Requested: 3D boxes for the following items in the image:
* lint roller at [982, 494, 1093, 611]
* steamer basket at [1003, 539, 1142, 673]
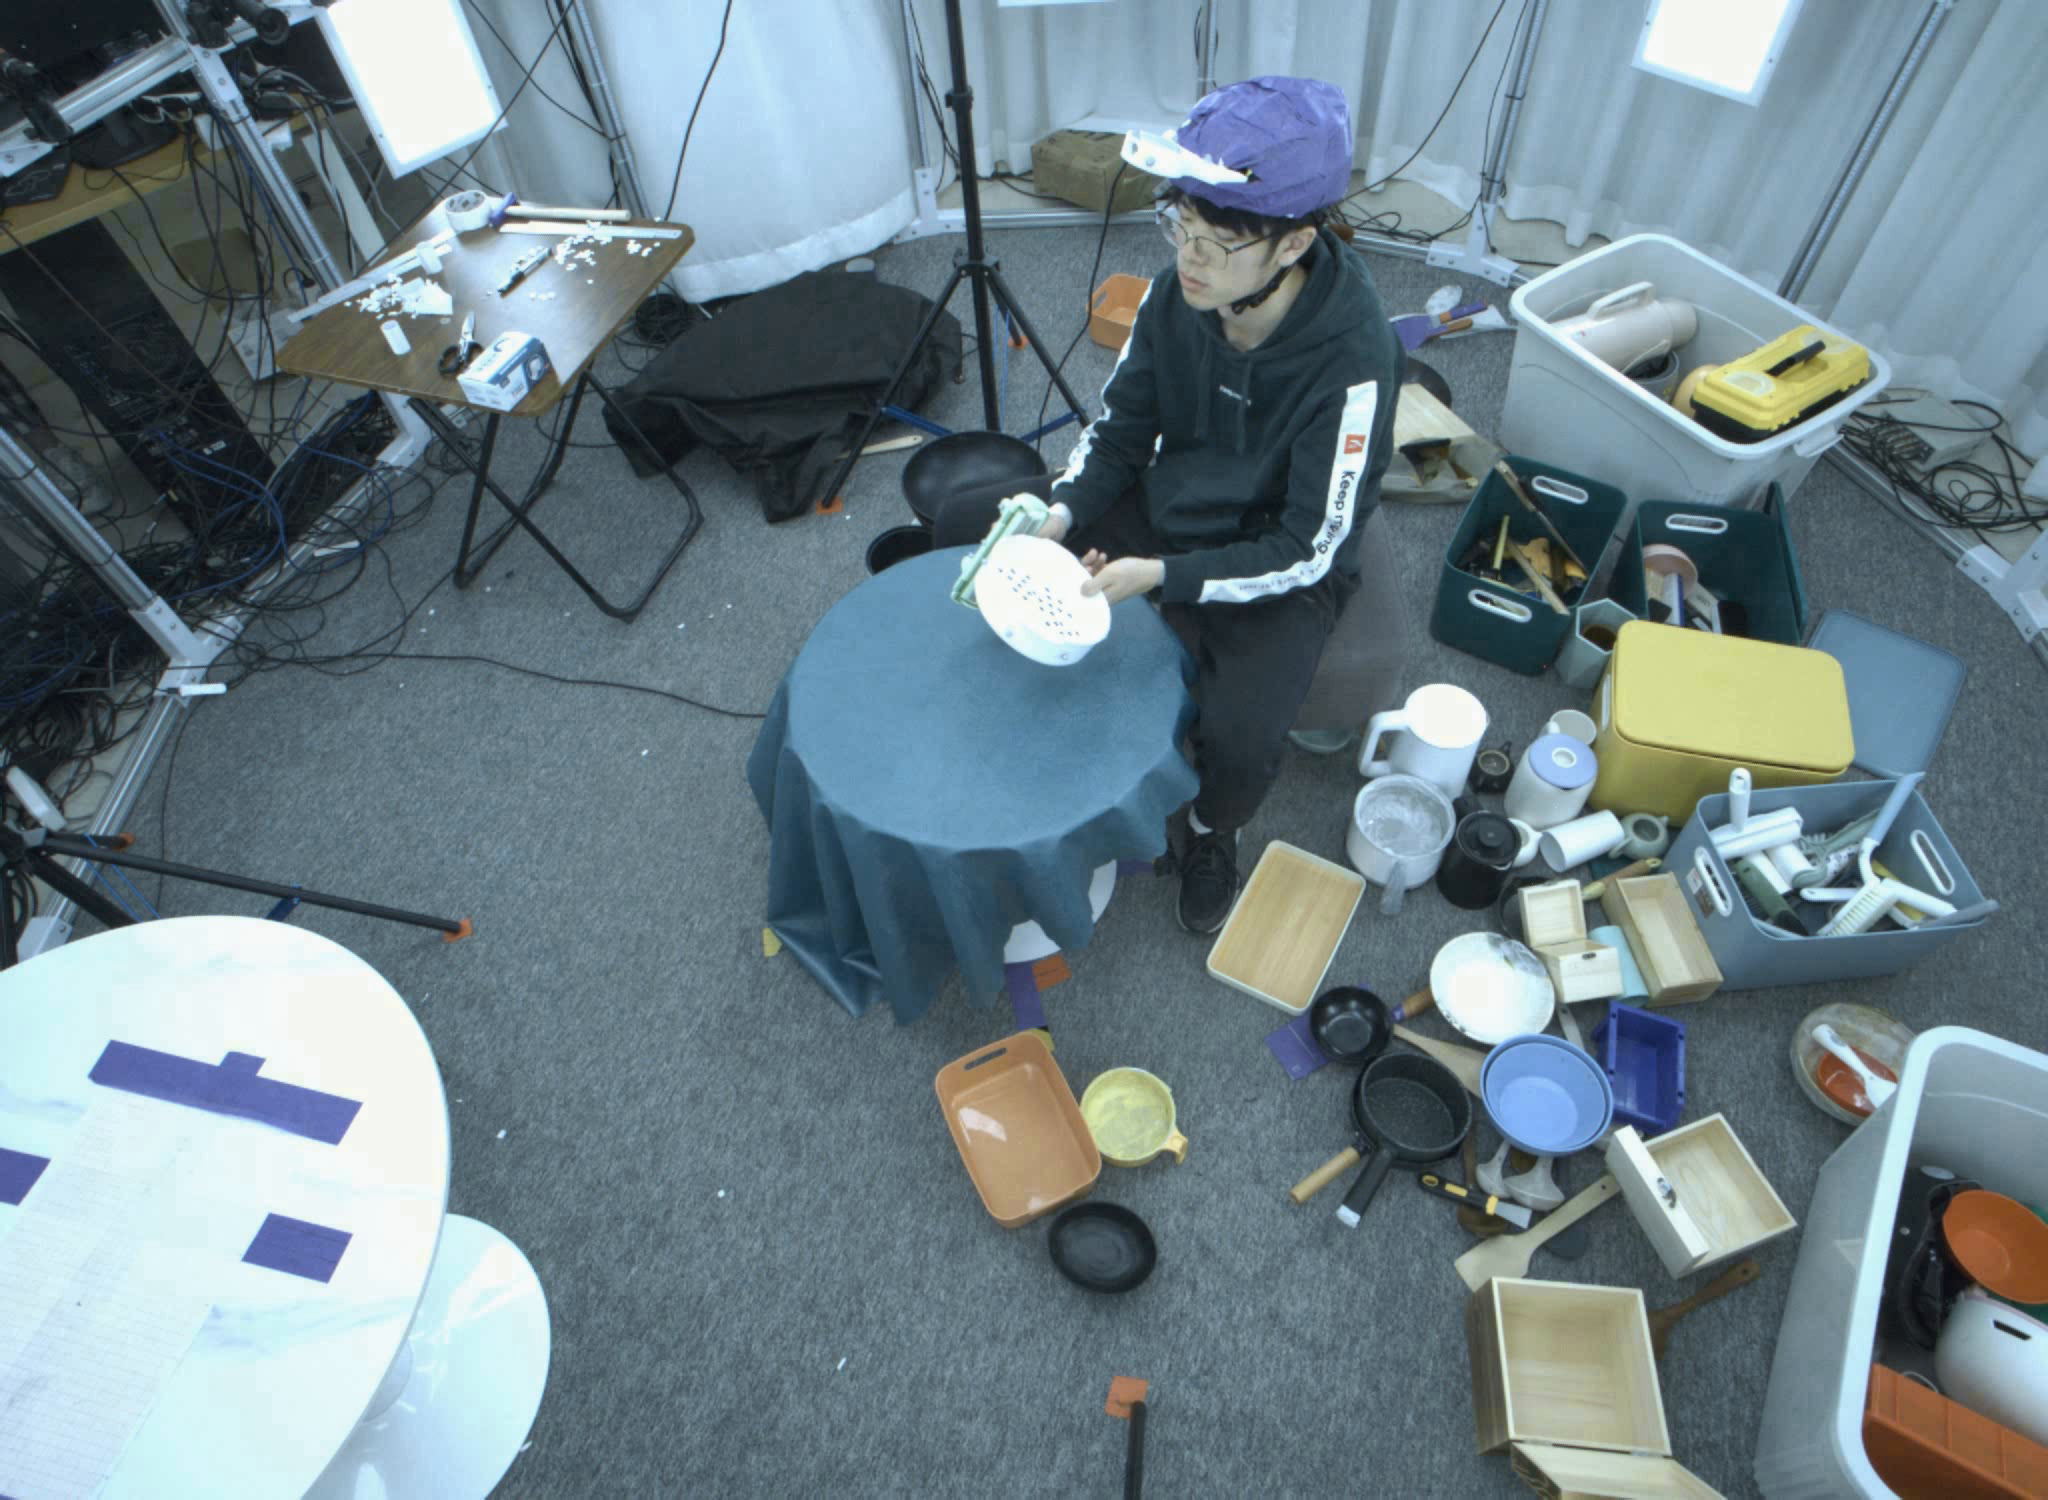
[{"bbox_3d":[0.033,-0.309,1.845,0.081,0.197,0.185,46,35,10],"label":"lint roller"},{"bbox_3d":[0.067,-0.200,1.725,0.204,0.068,0.229,32,42,-16],"label":"steamer basket"}]
